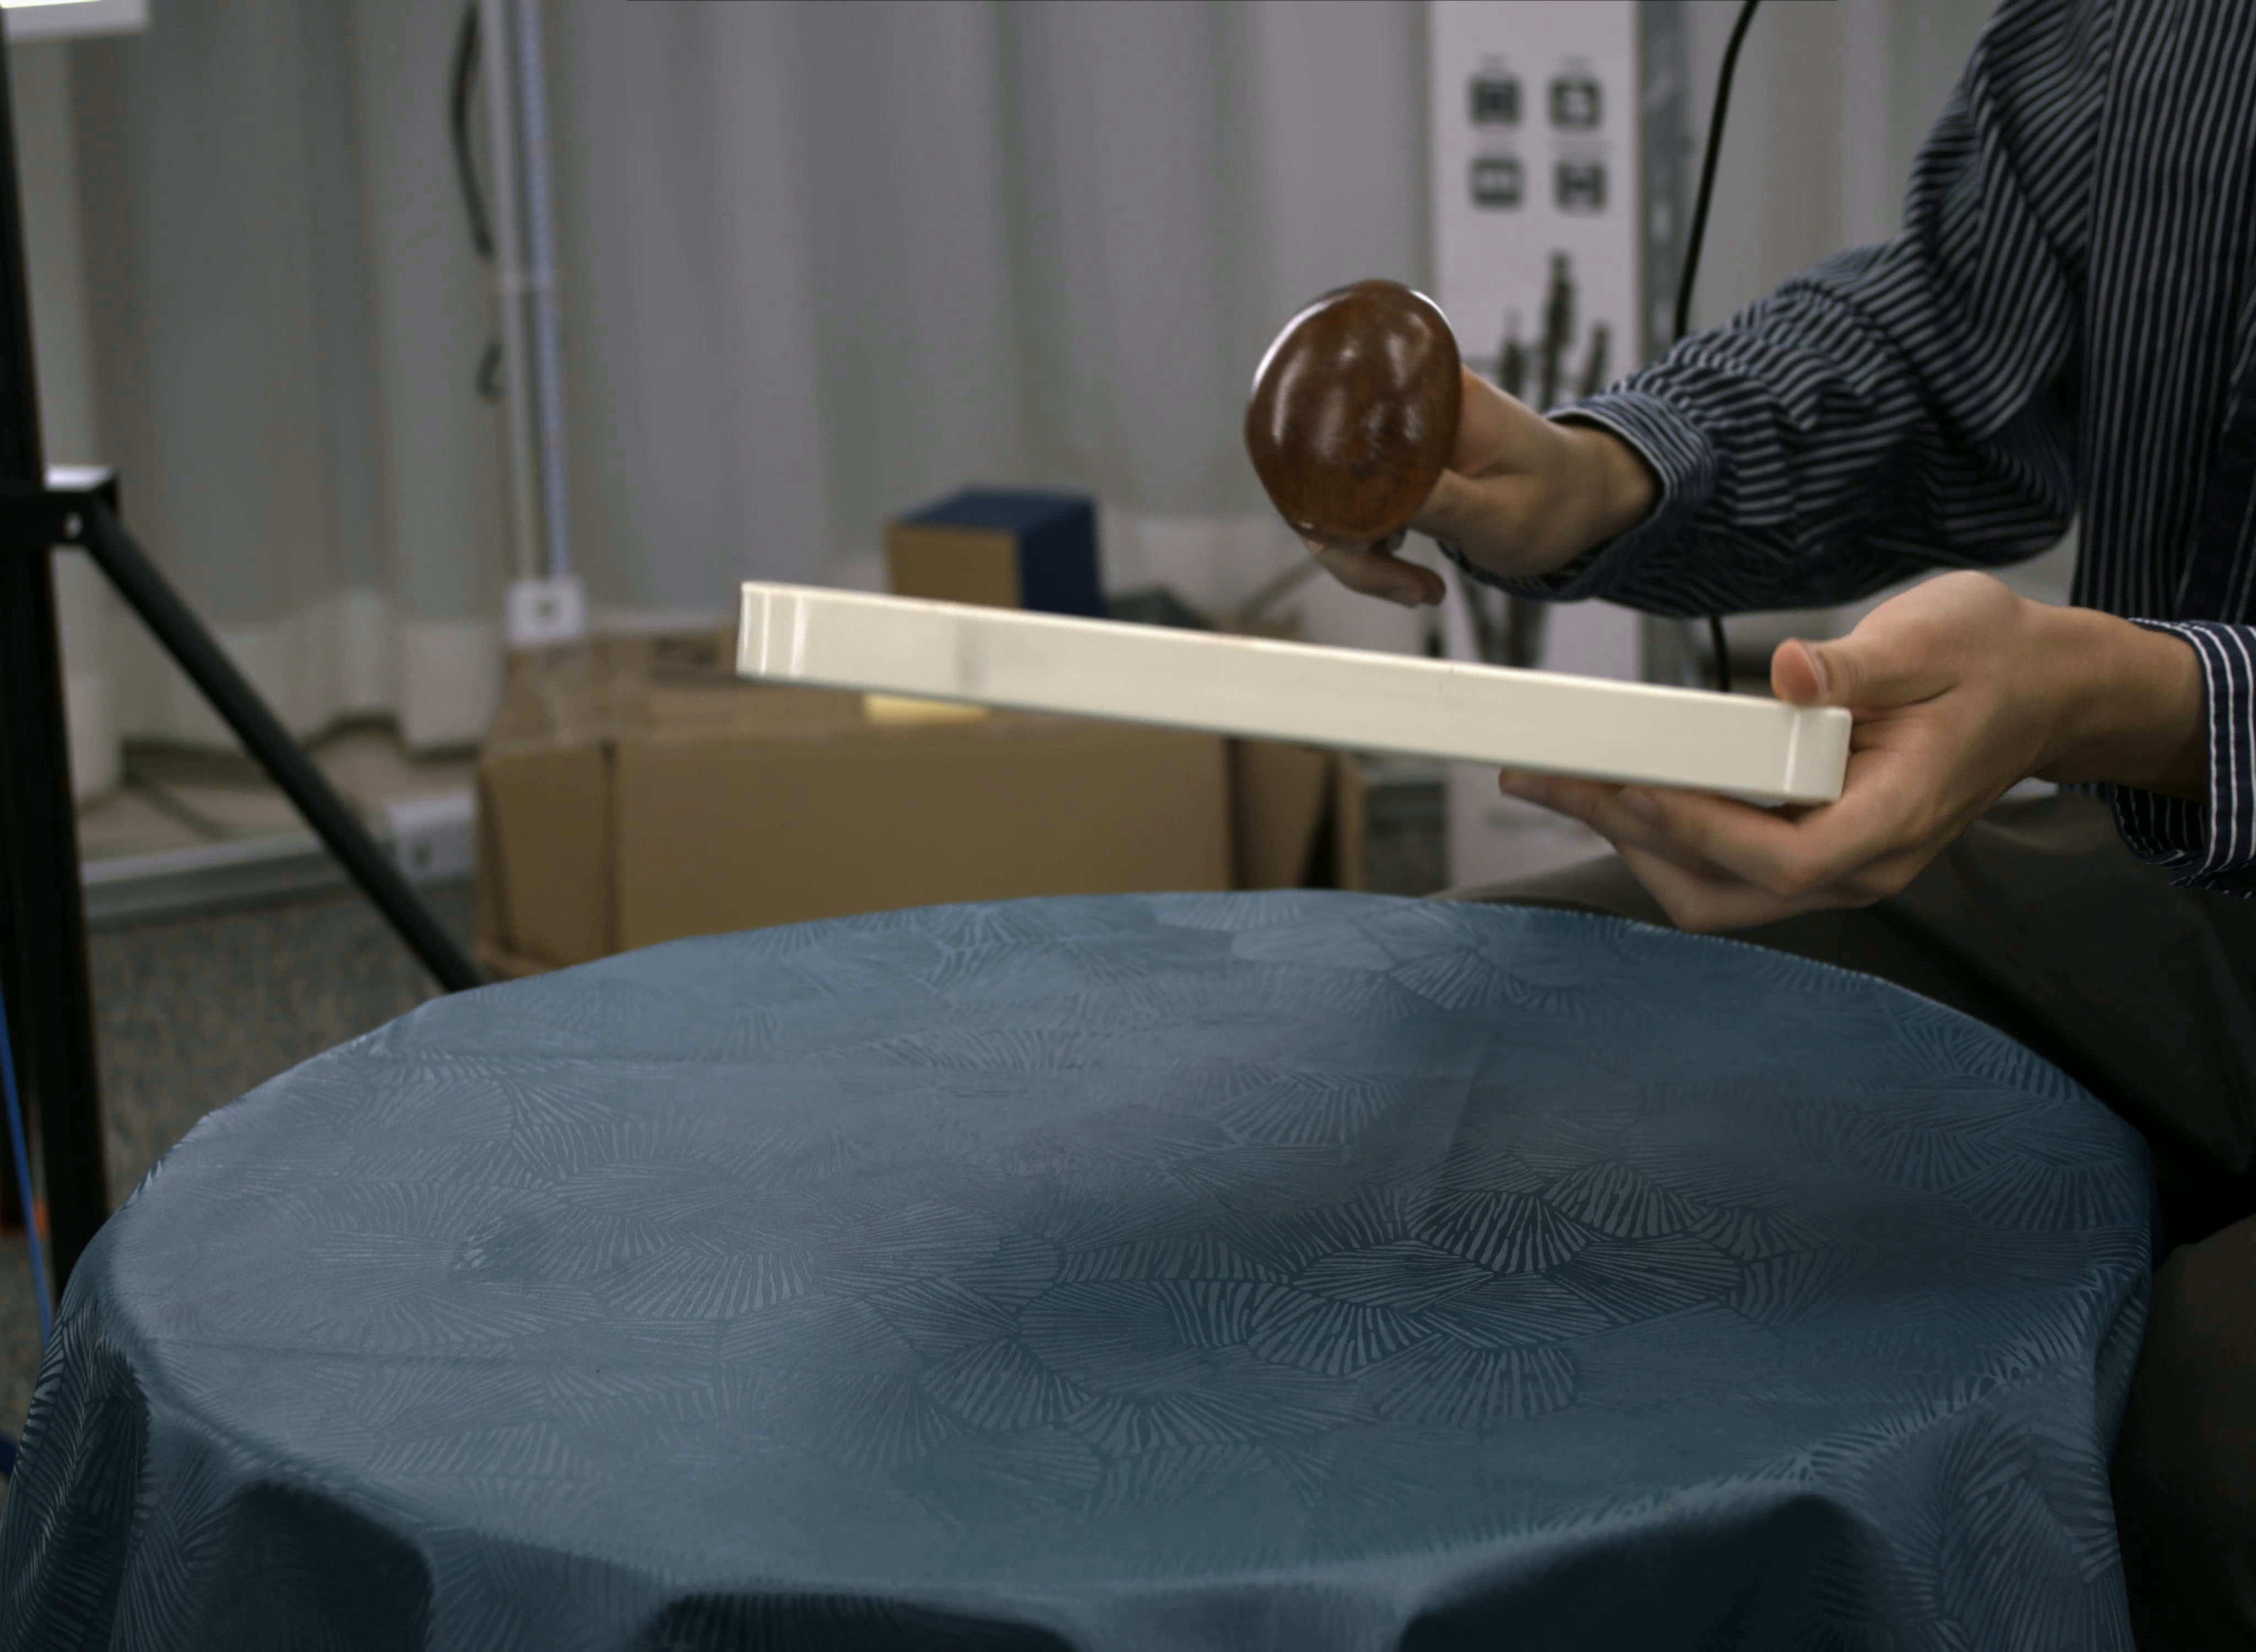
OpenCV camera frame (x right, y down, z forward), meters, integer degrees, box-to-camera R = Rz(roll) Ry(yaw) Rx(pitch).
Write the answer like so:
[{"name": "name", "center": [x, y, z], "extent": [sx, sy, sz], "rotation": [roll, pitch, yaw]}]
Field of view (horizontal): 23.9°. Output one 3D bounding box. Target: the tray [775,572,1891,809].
[{"name": "tray", "center": [0.060, -0.037, 1.492], "extent": [0.301, 0.027, 0.190], "rotation": [8, 2, 8]}]

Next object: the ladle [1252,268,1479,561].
[{"name": "ladle", "center": [0.091, -0.113, 1.676], "extent": [0.077, 0.082, 0.270], "rotation": [17, -3, 14]}]
